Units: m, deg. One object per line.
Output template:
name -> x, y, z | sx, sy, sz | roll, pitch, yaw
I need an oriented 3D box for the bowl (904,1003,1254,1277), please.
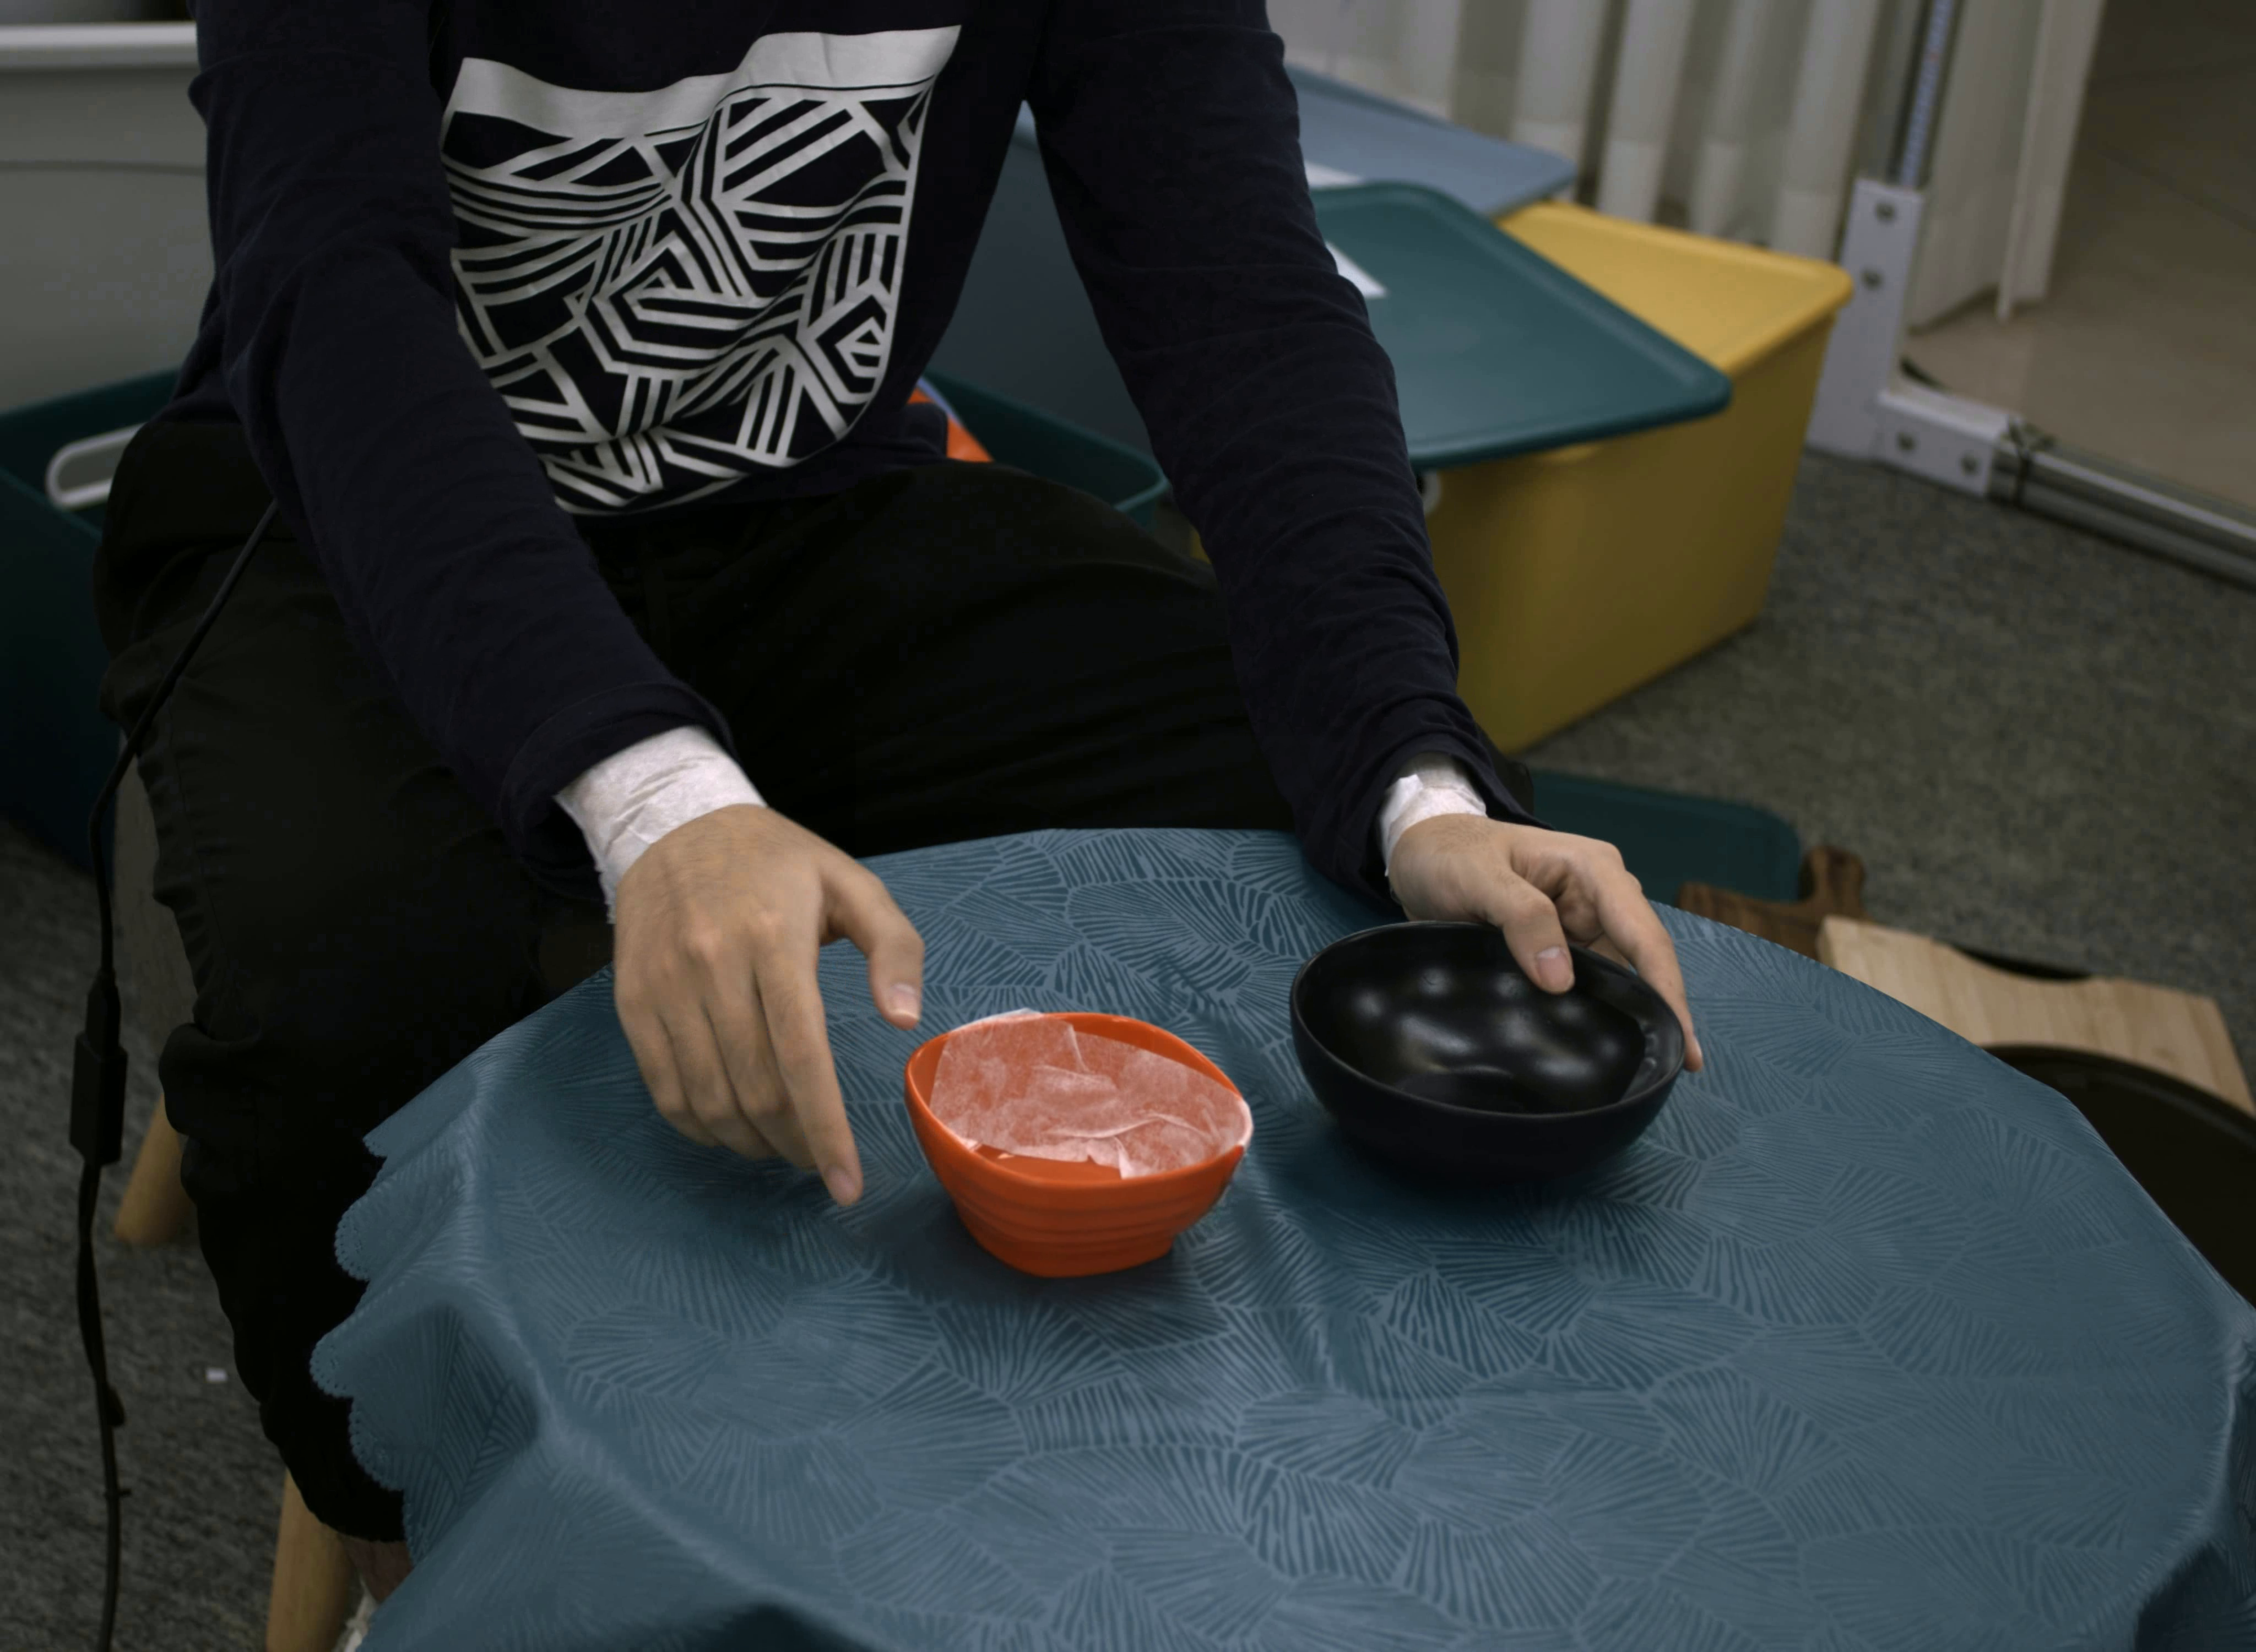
bowl -> -0.019, 0.109, 1.772 | 0.118, 0.051, 0.119 | 5, 29, -3

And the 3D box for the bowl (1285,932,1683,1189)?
bowl -> 0.122, 0.089, 1.853 | 0.139, 0.049, 0.141 | 4, 24, -2
